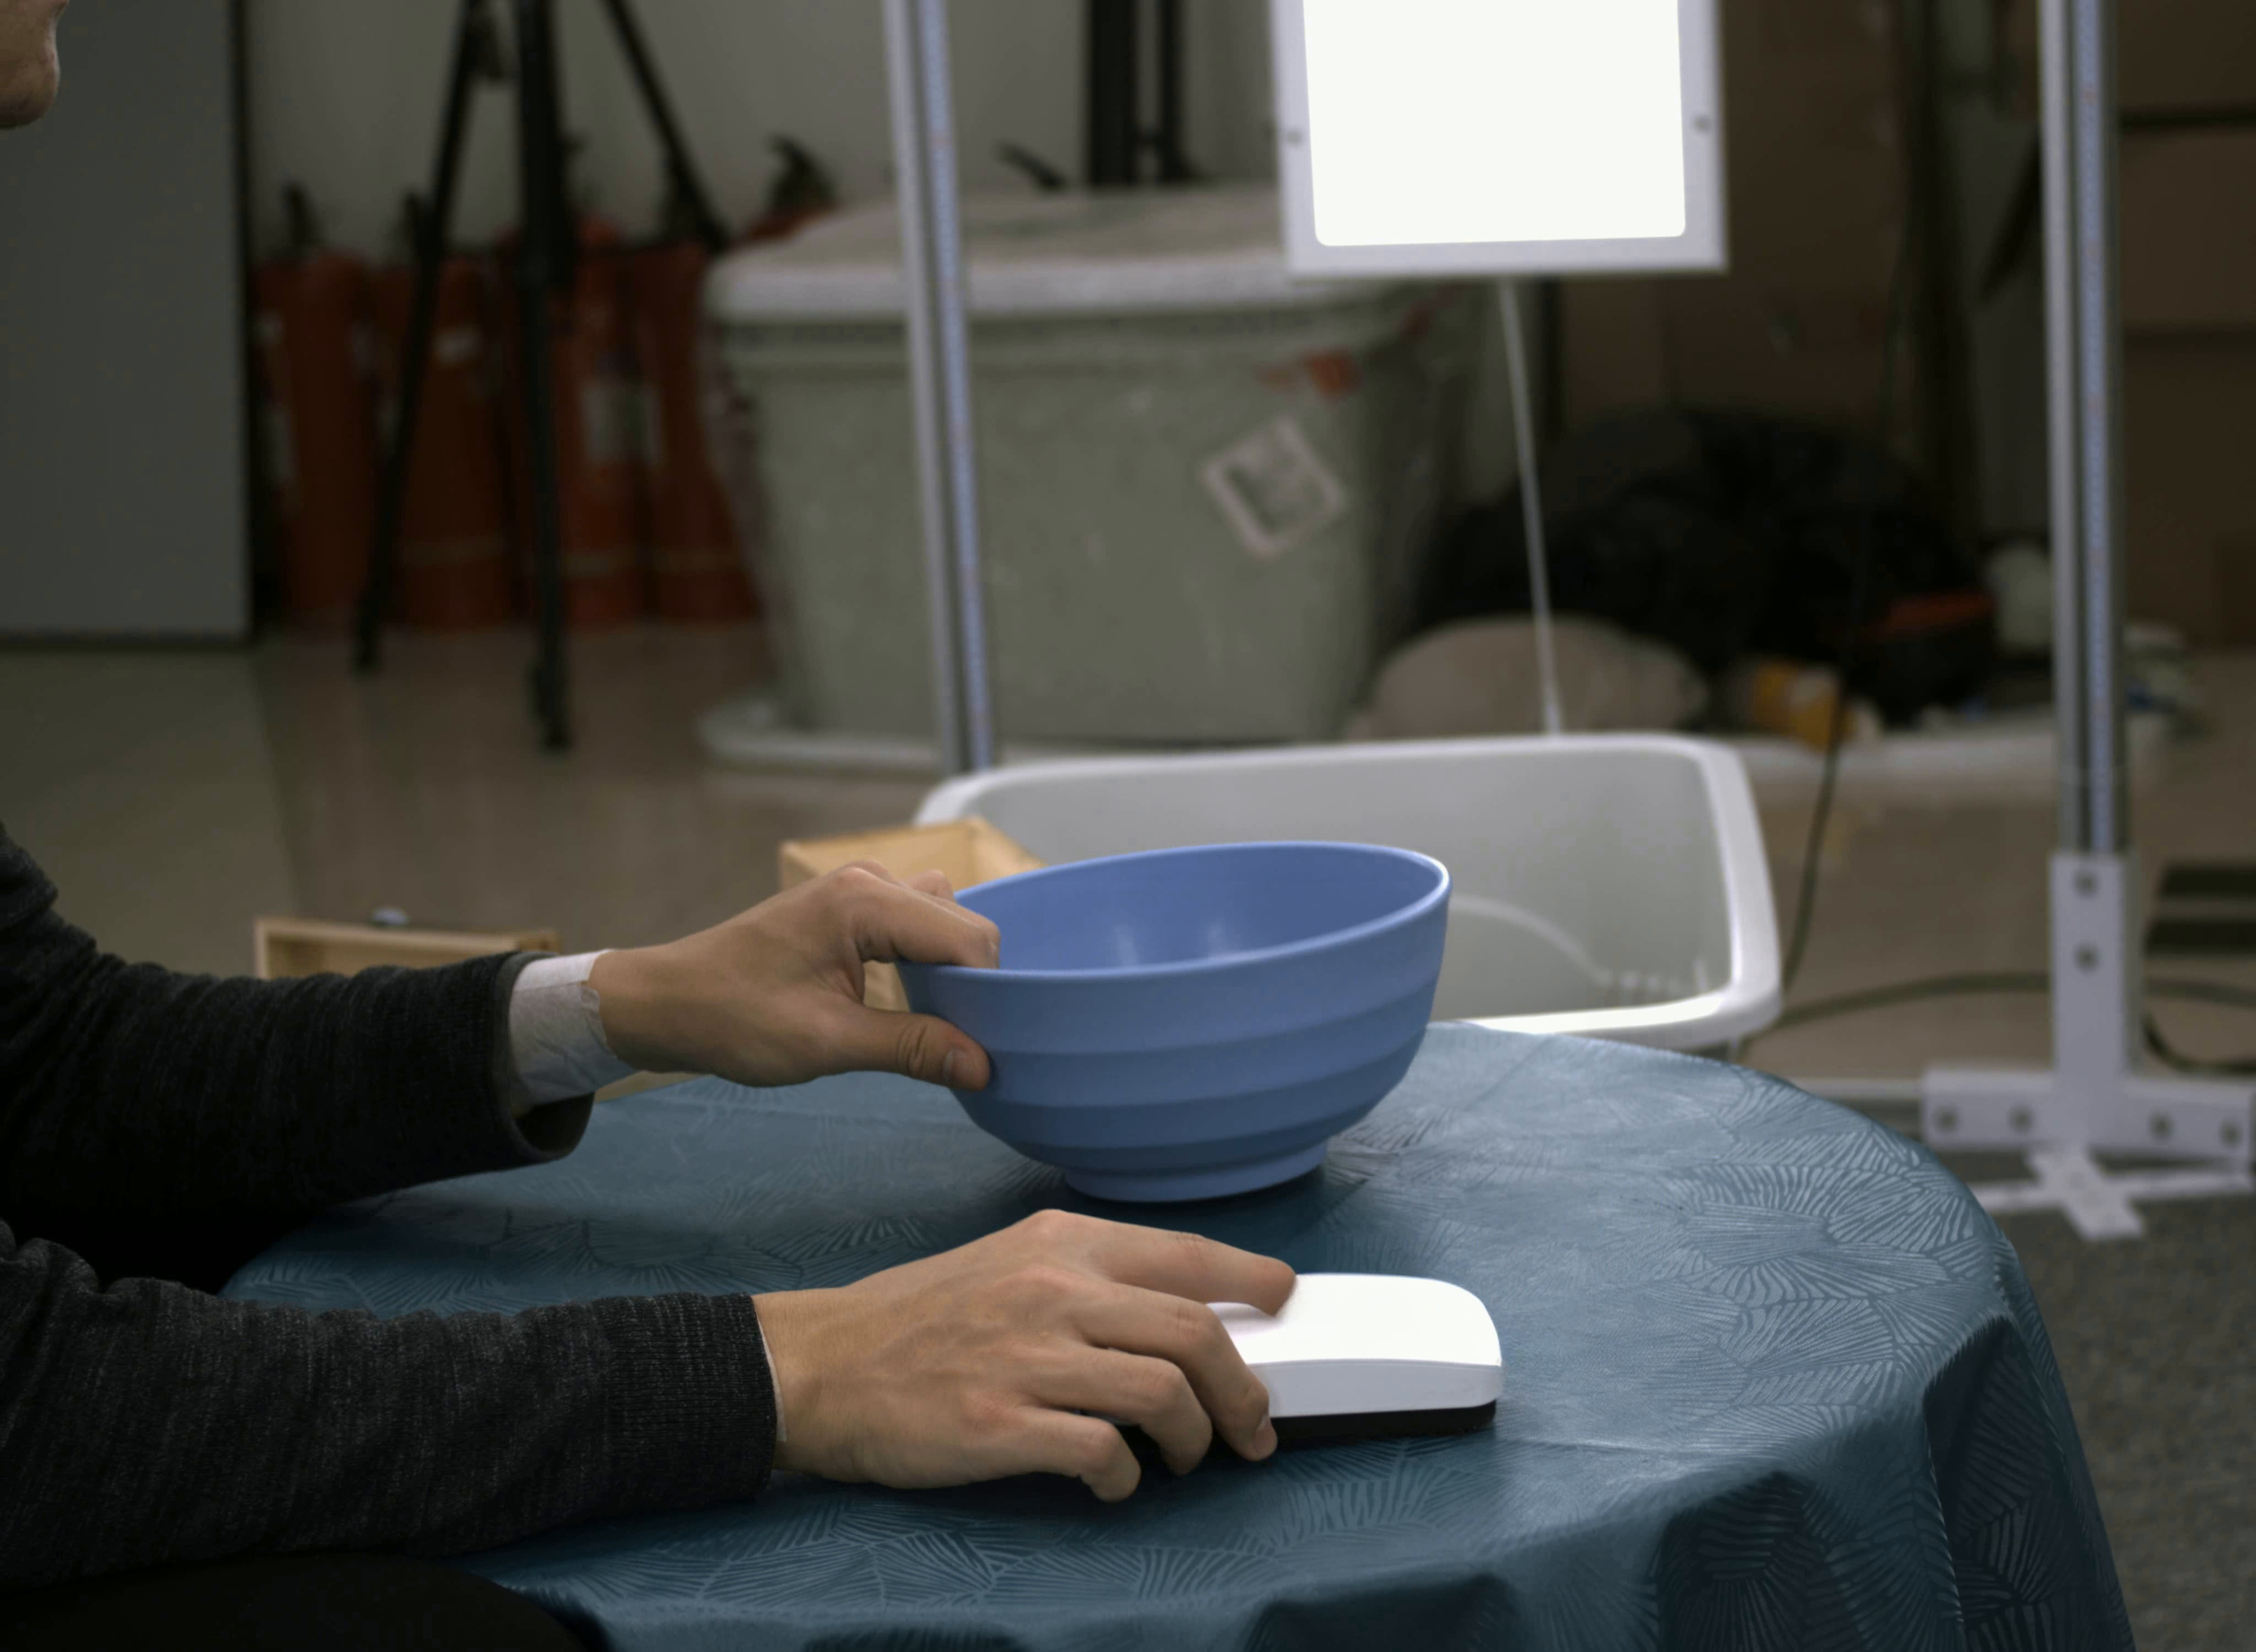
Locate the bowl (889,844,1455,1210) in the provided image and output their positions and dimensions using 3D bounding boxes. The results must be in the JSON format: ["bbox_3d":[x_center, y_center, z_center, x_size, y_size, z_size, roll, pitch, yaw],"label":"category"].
[{"bbox_3d":[0.019,0.074,1.901,0.196,0.096,0.196,-6,12,0],"label":"bowl"}]

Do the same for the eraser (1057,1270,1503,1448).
[{"bbox_3d":[0.045,0.161,1.655,0.130,0.035,0.063,0,17,-6],"label":"eraser"}]
